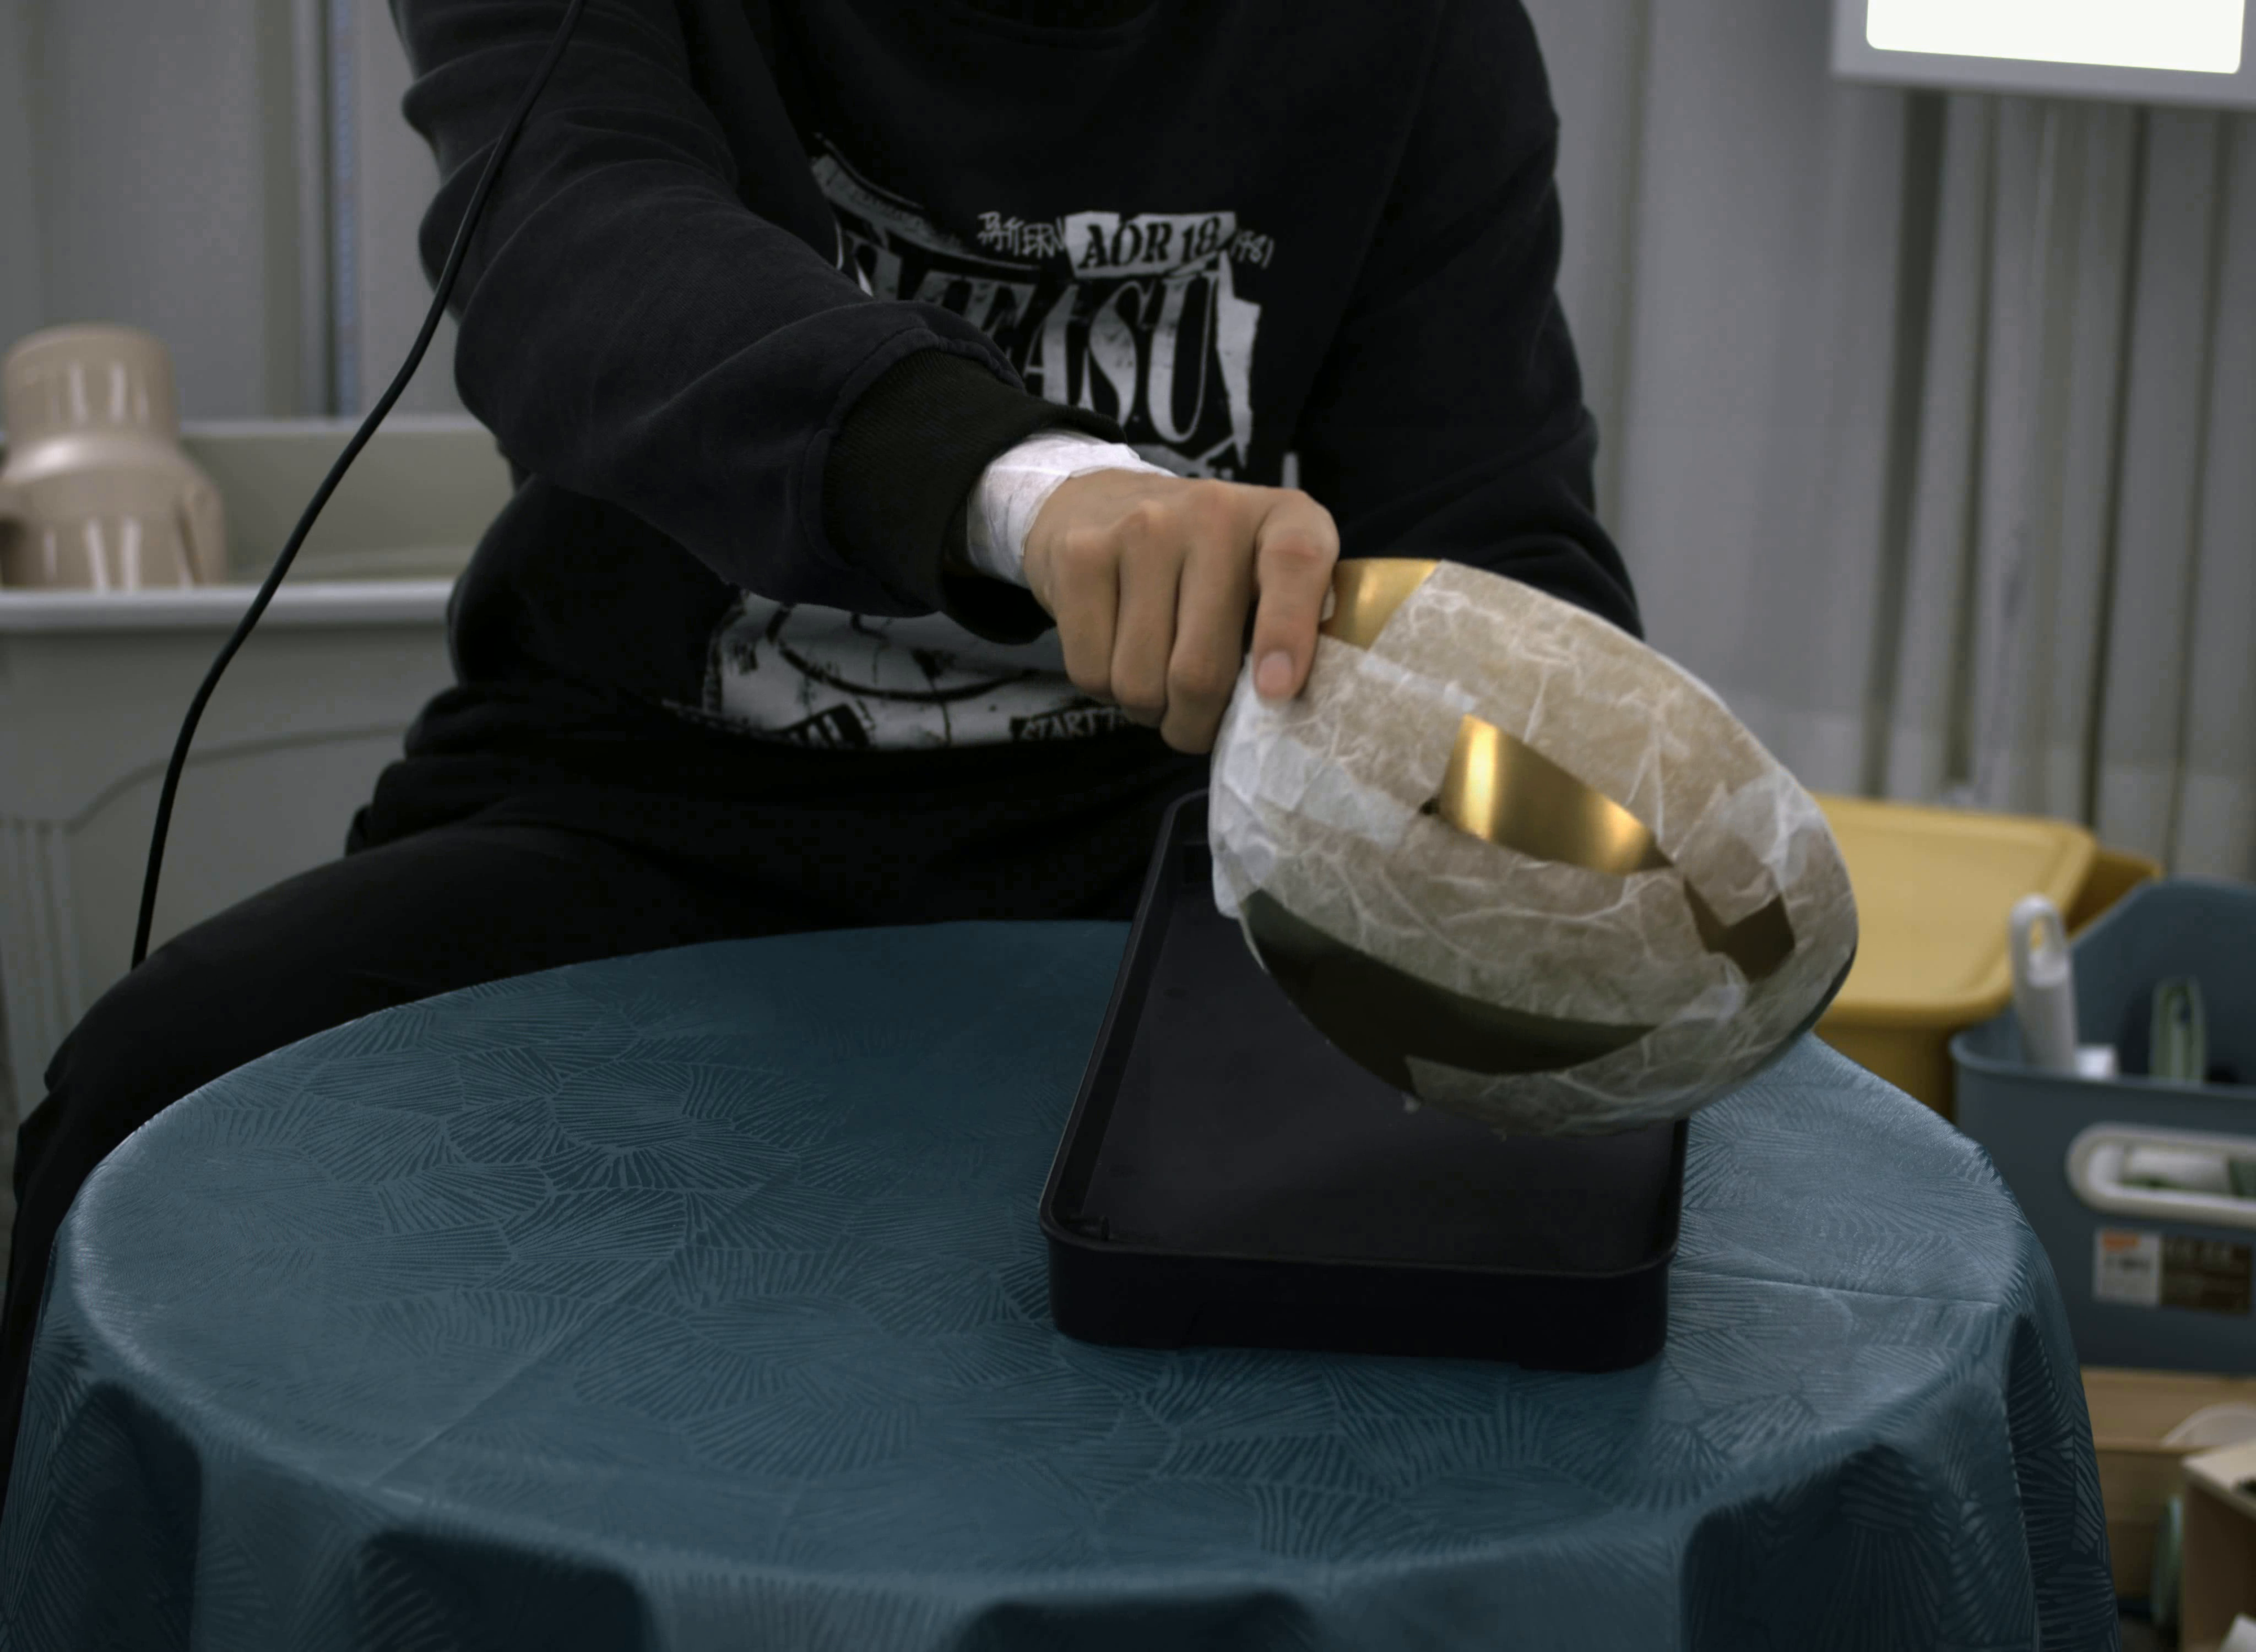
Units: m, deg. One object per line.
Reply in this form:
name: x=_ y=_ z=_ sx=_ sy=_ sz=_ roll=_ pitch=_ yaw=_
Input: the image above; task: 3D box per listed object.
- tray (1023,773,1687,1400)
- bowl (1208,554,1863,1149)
tray: x=0.083 y=0.072 z=1.622 sx=0.183 sy=0.037 sz=0.316 roll=5 pitch=27 yaw=8
bowl: x=0.100 y=0.028 z=1.510 sx=0.212 sy=0.218 sz=0.094 roll=14 pitch=57 yaw=37
